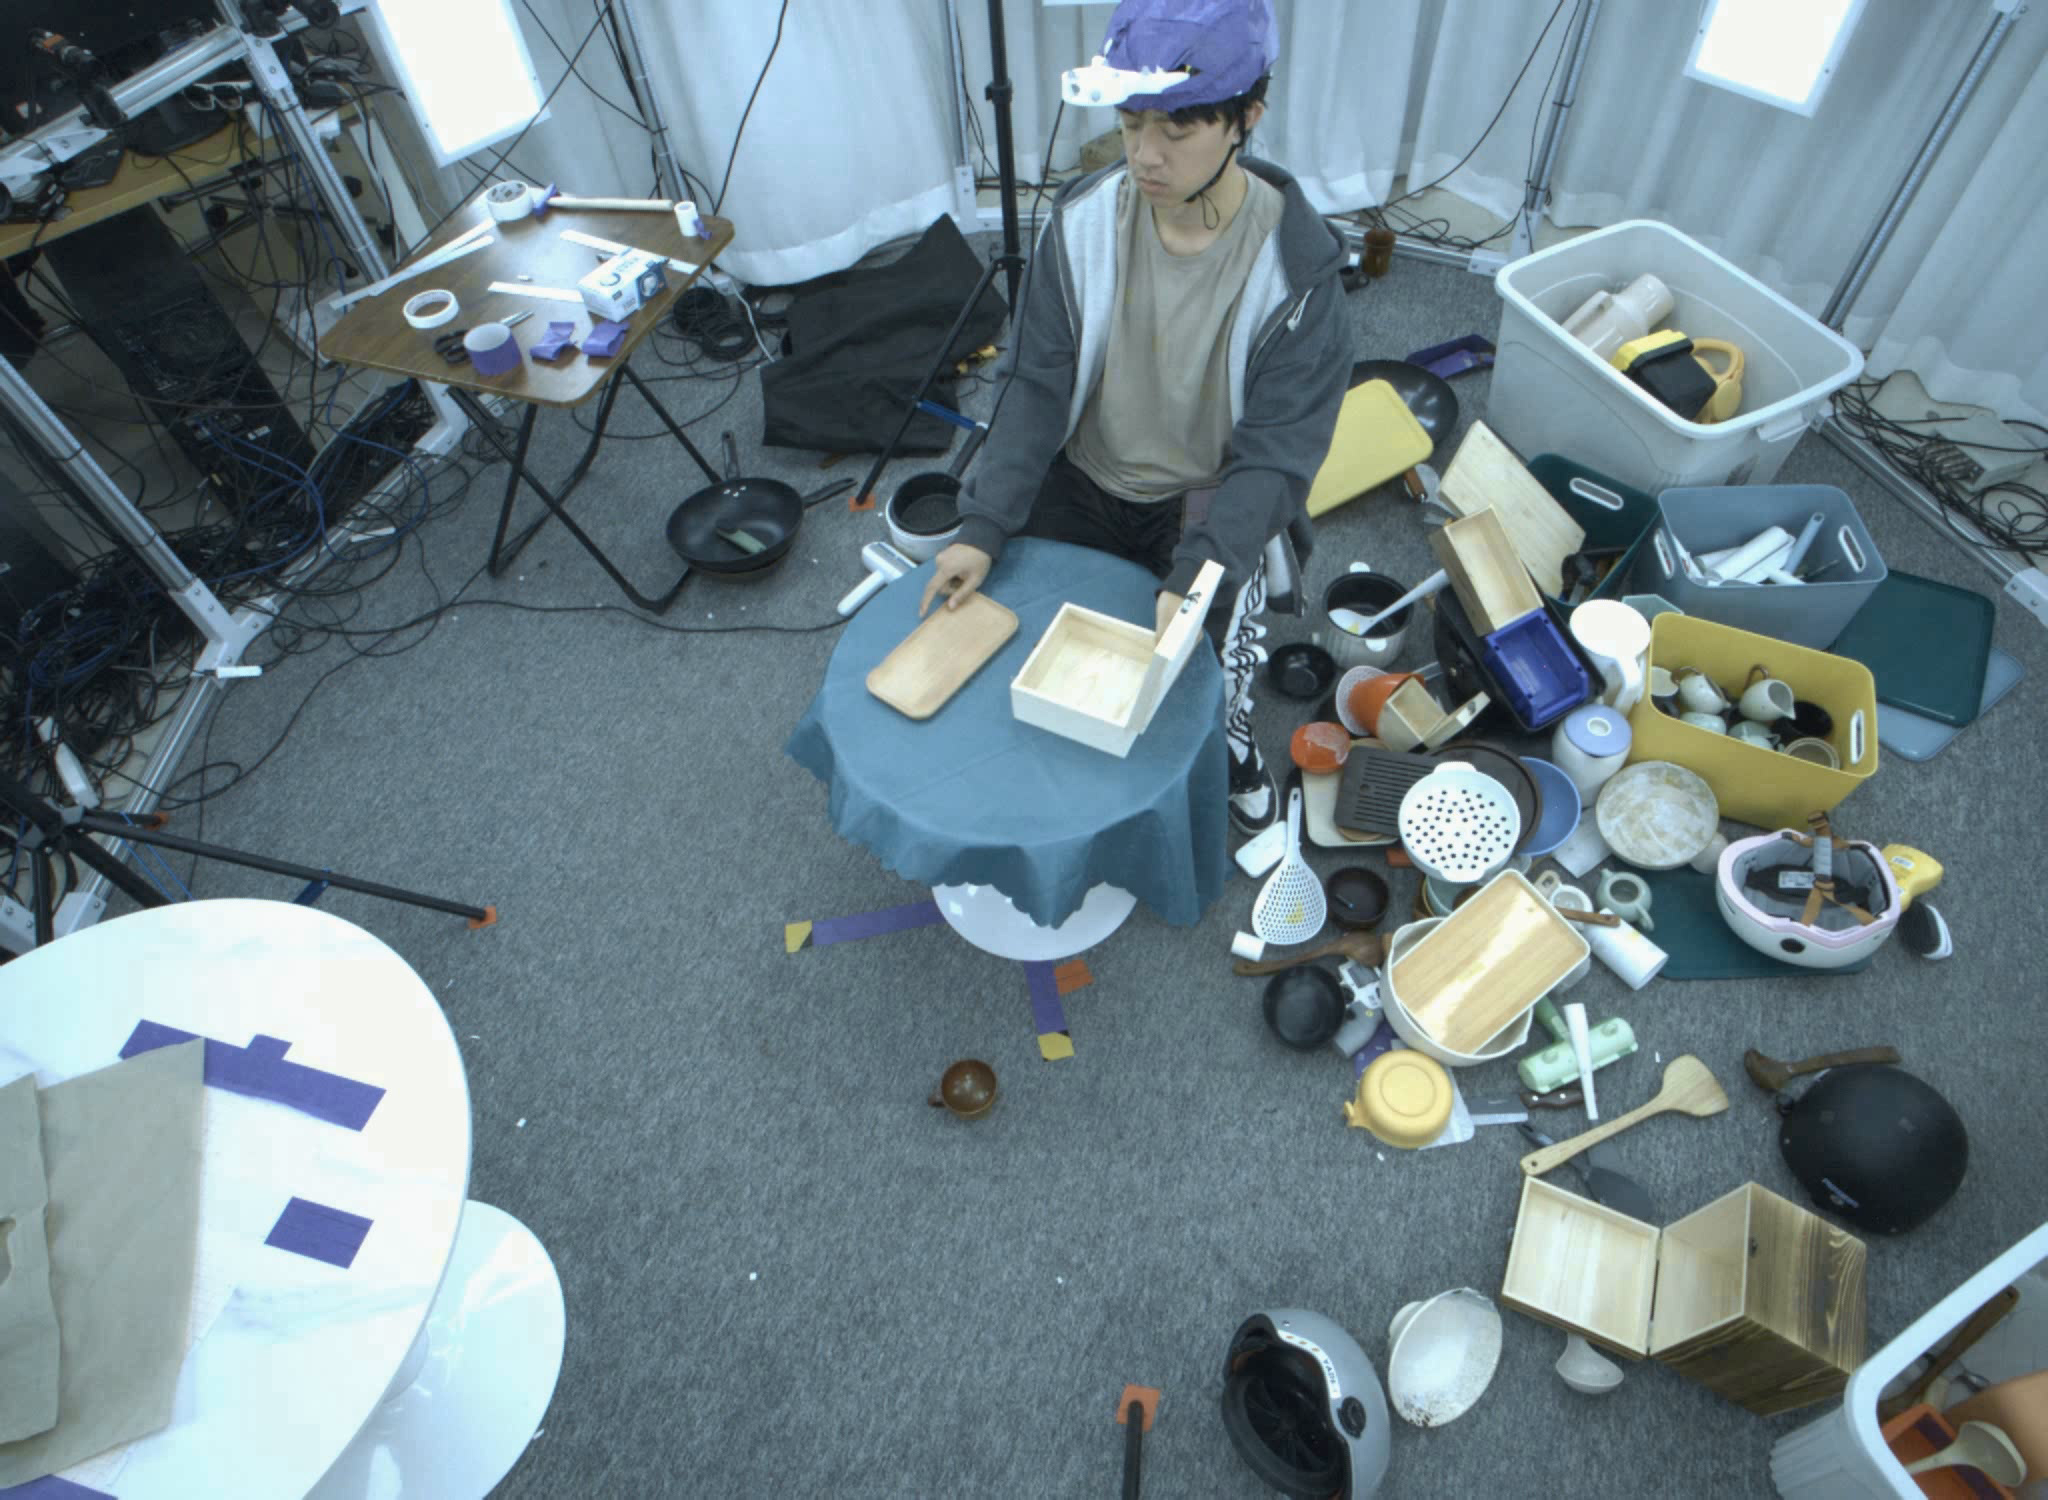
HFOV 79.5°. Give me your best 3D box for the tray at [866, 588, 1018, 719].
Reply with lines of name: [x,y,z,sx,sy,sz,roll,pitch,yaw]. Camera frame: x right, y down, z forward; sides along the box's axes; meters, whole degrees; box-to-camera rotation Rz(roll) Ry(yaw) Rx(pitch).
tray: [-0.124,-0.150,1.888,0.129,0.023,0.252,34,62,18]

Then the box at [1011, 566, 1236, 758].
box: [0.131,-0.145,1.738,0.262,0.256,0.182,20,56,15]
